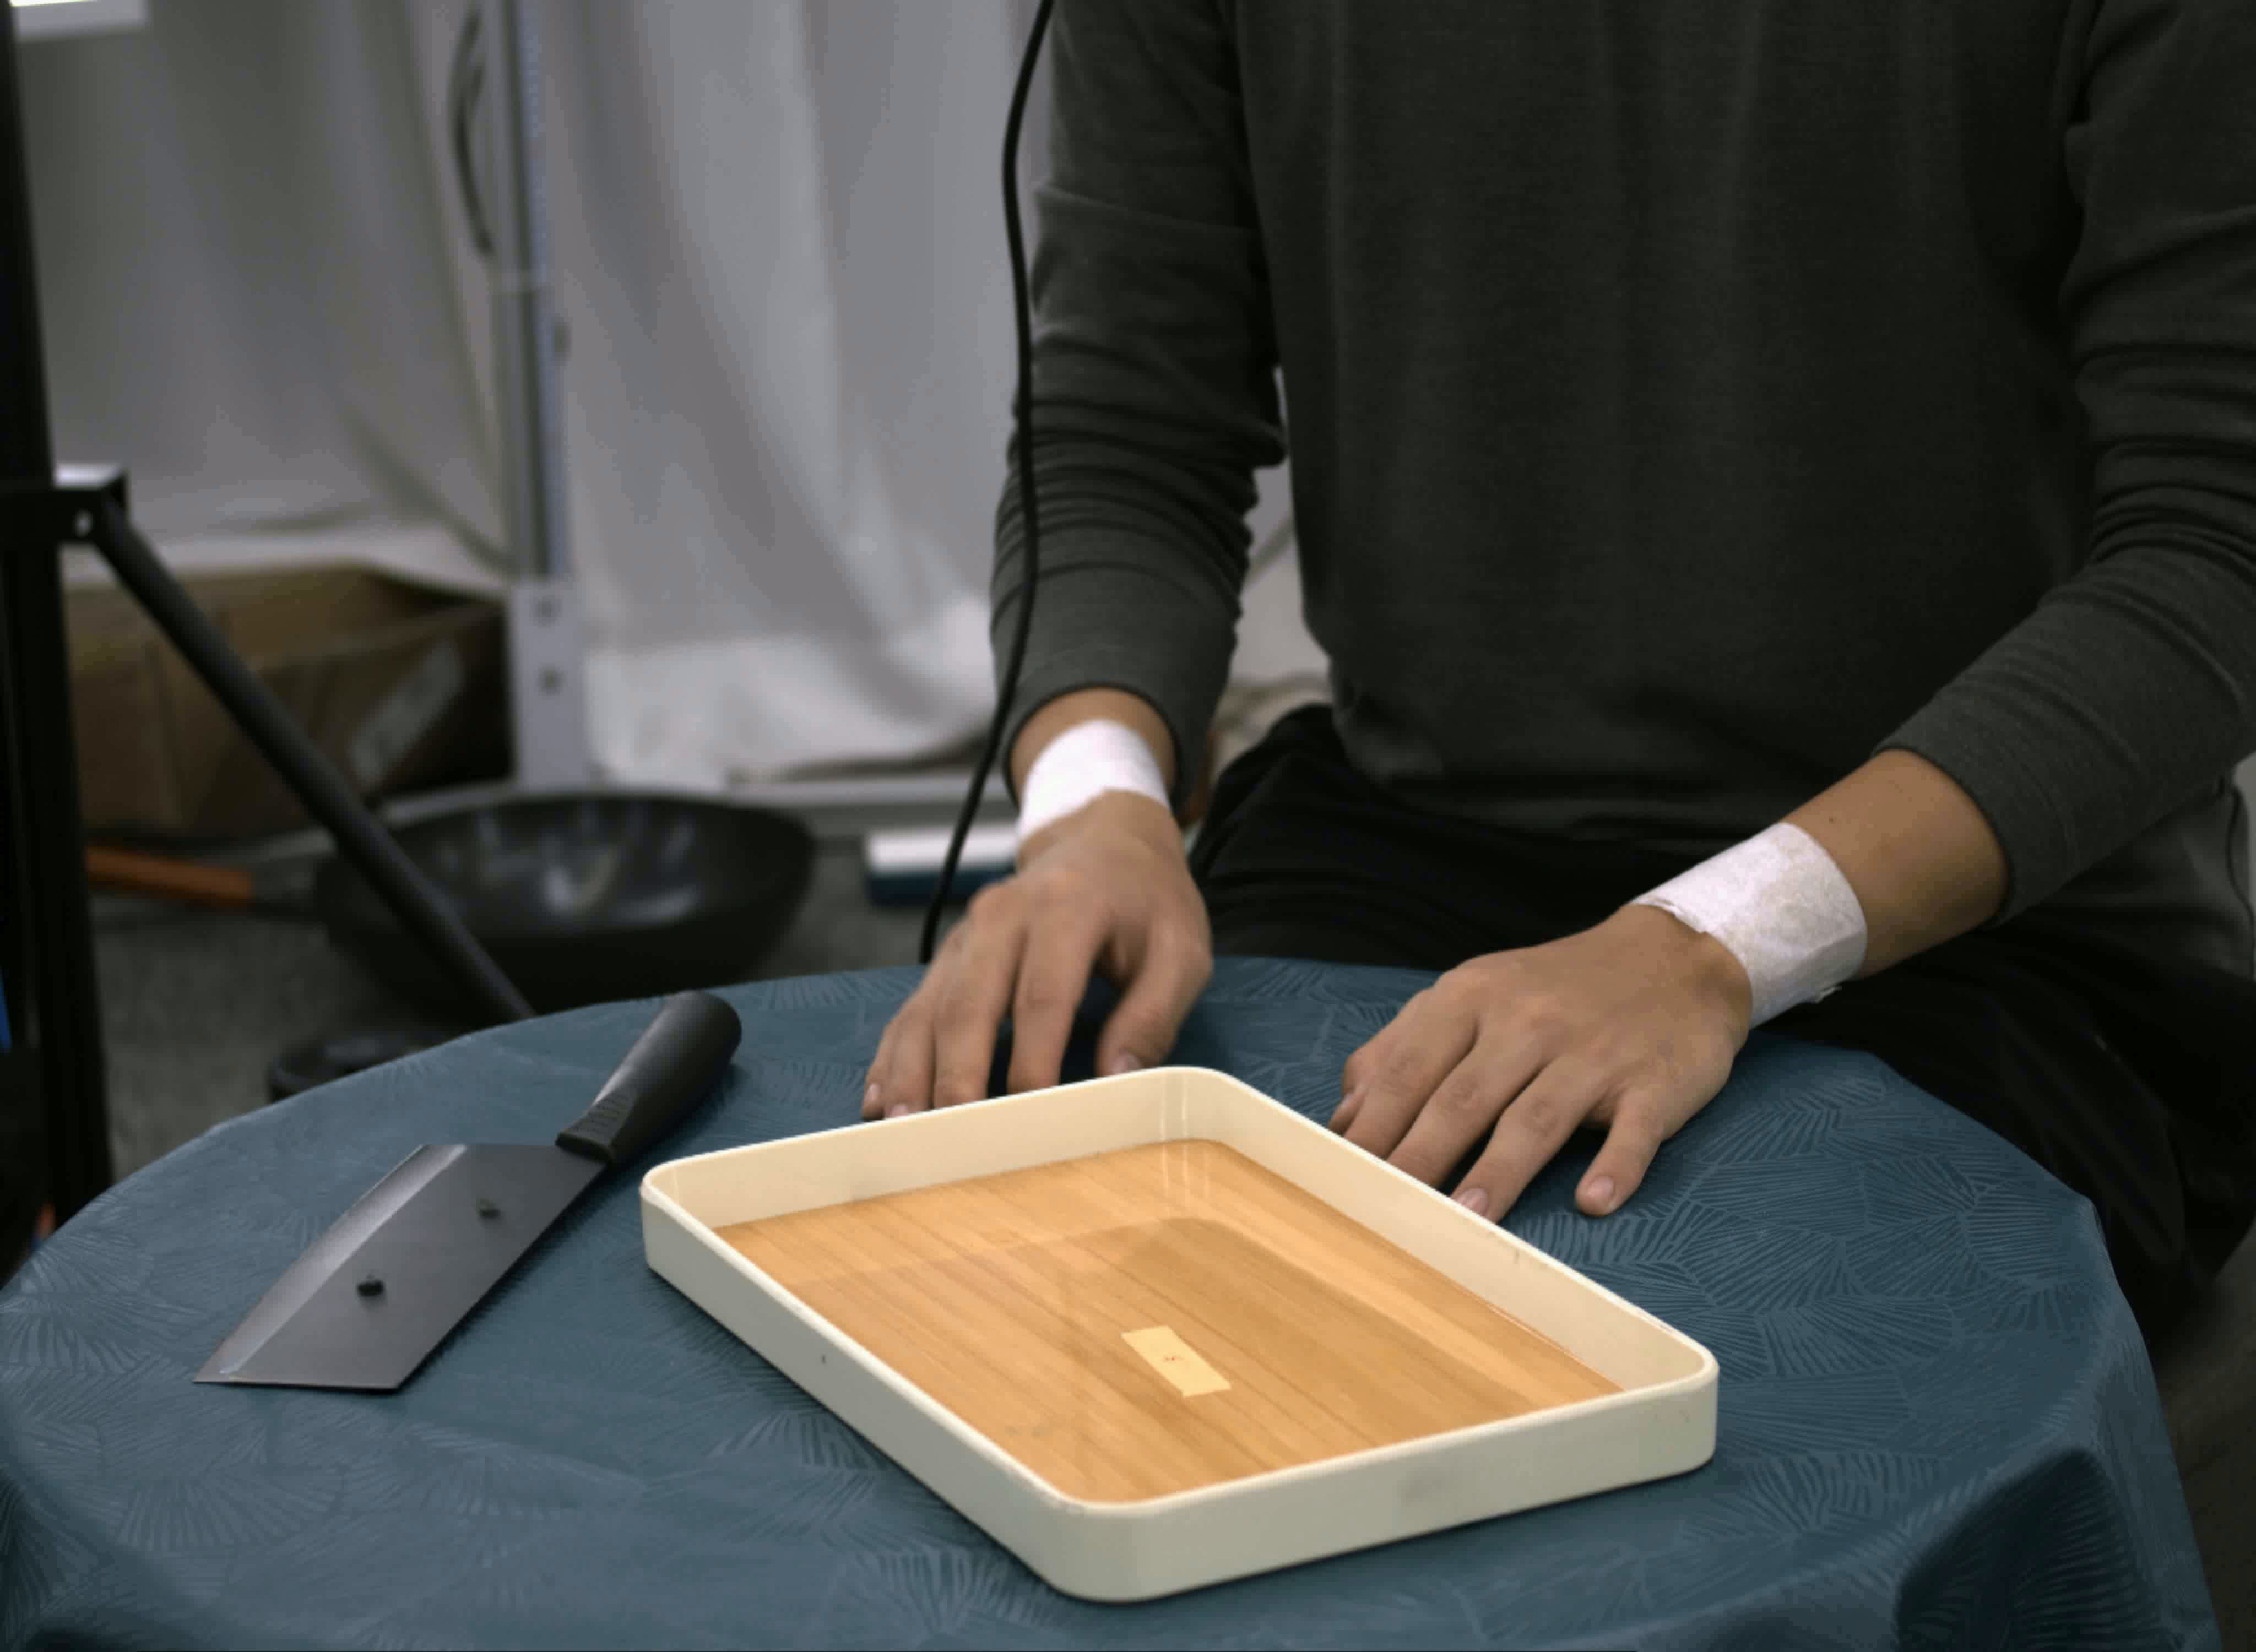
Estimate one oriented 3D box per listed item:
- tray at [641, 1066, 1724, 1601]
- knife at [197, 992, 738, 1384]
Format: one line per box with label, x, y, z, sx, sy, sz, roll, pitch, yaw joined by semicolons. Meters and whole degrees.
tray;0.007;0.130;1.432;0.187;0.027;0.306;-10;17;-24
knife;-0.185;0.105;1.575;0.082;0.021;0.299;2;18;20
